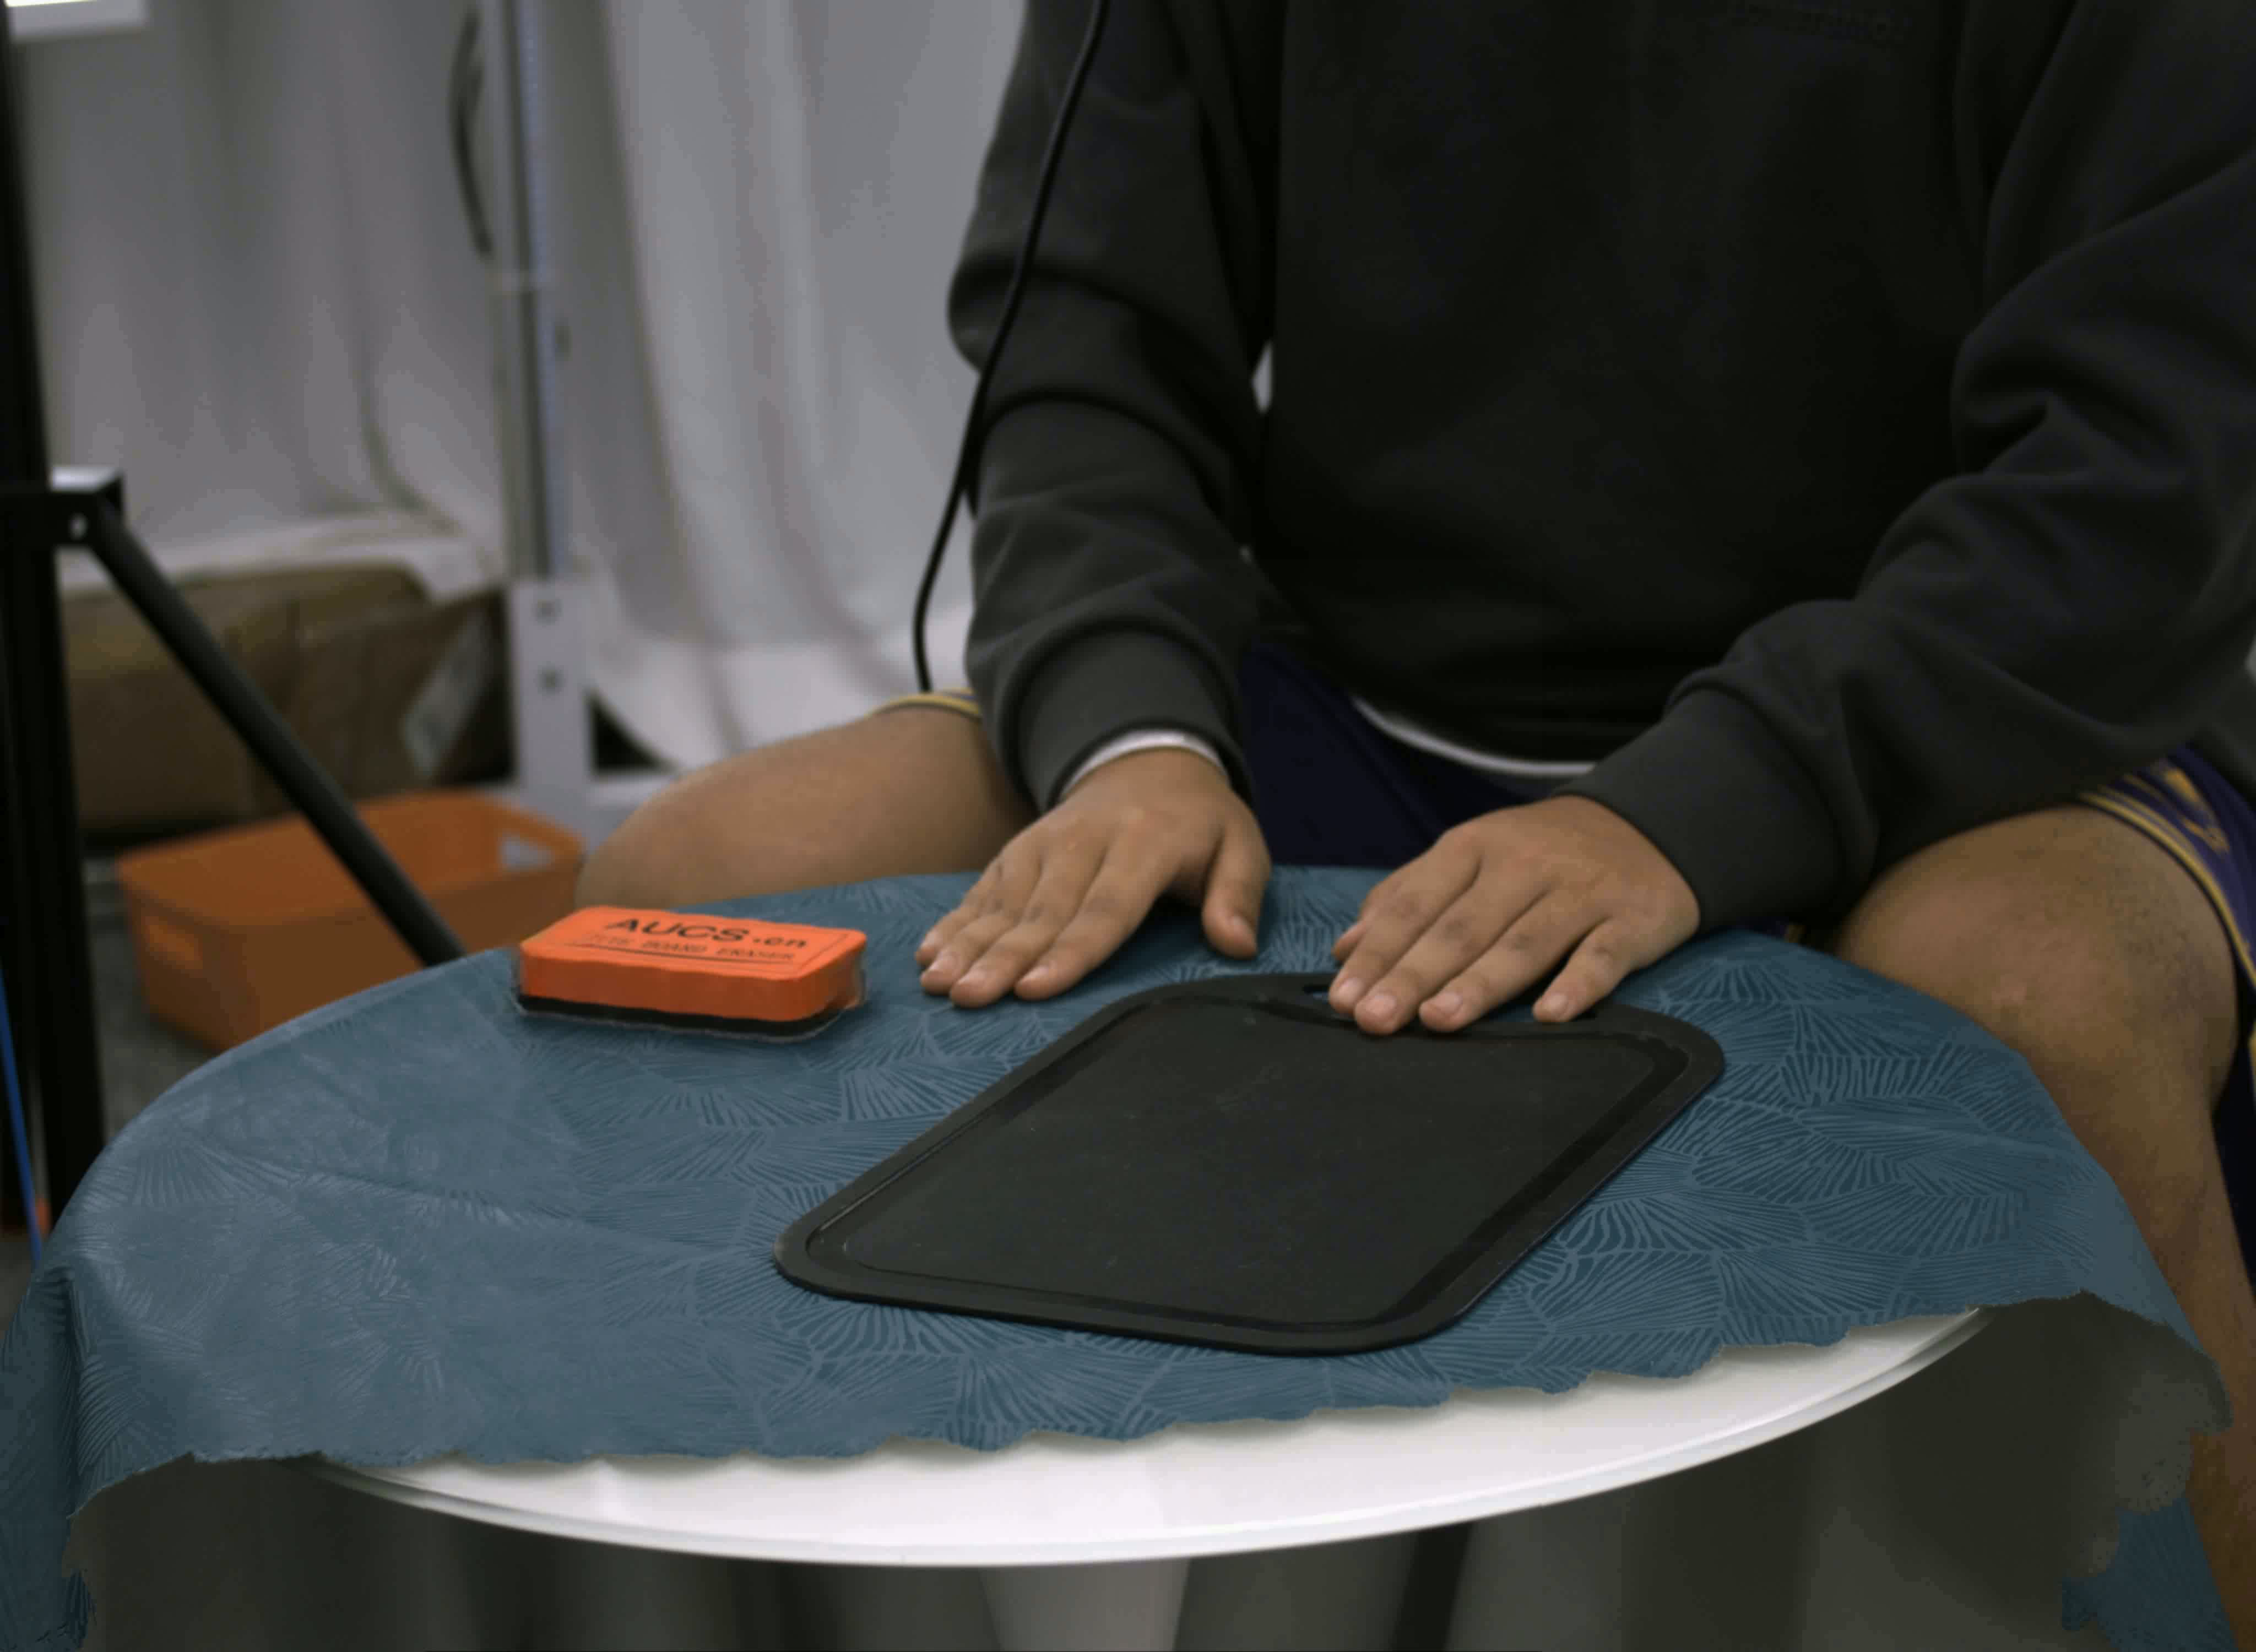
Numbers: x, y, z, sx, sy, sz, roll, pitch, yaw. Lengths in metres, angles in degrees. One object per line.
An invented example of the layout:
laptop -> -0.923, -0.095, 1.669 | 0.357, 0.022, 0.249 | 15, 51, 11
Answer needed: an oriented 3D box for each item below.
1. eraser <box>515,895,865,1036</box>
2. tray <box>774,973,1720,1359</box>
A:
eraser -> -0.143, 0.045, 1.752 | 0.109, 0.023, 0.058 | 6, 19, 24
tray -> 0.045, 0.093, 1.595 | 0.214, 0.010, 0.320 | 6, 18, 26
